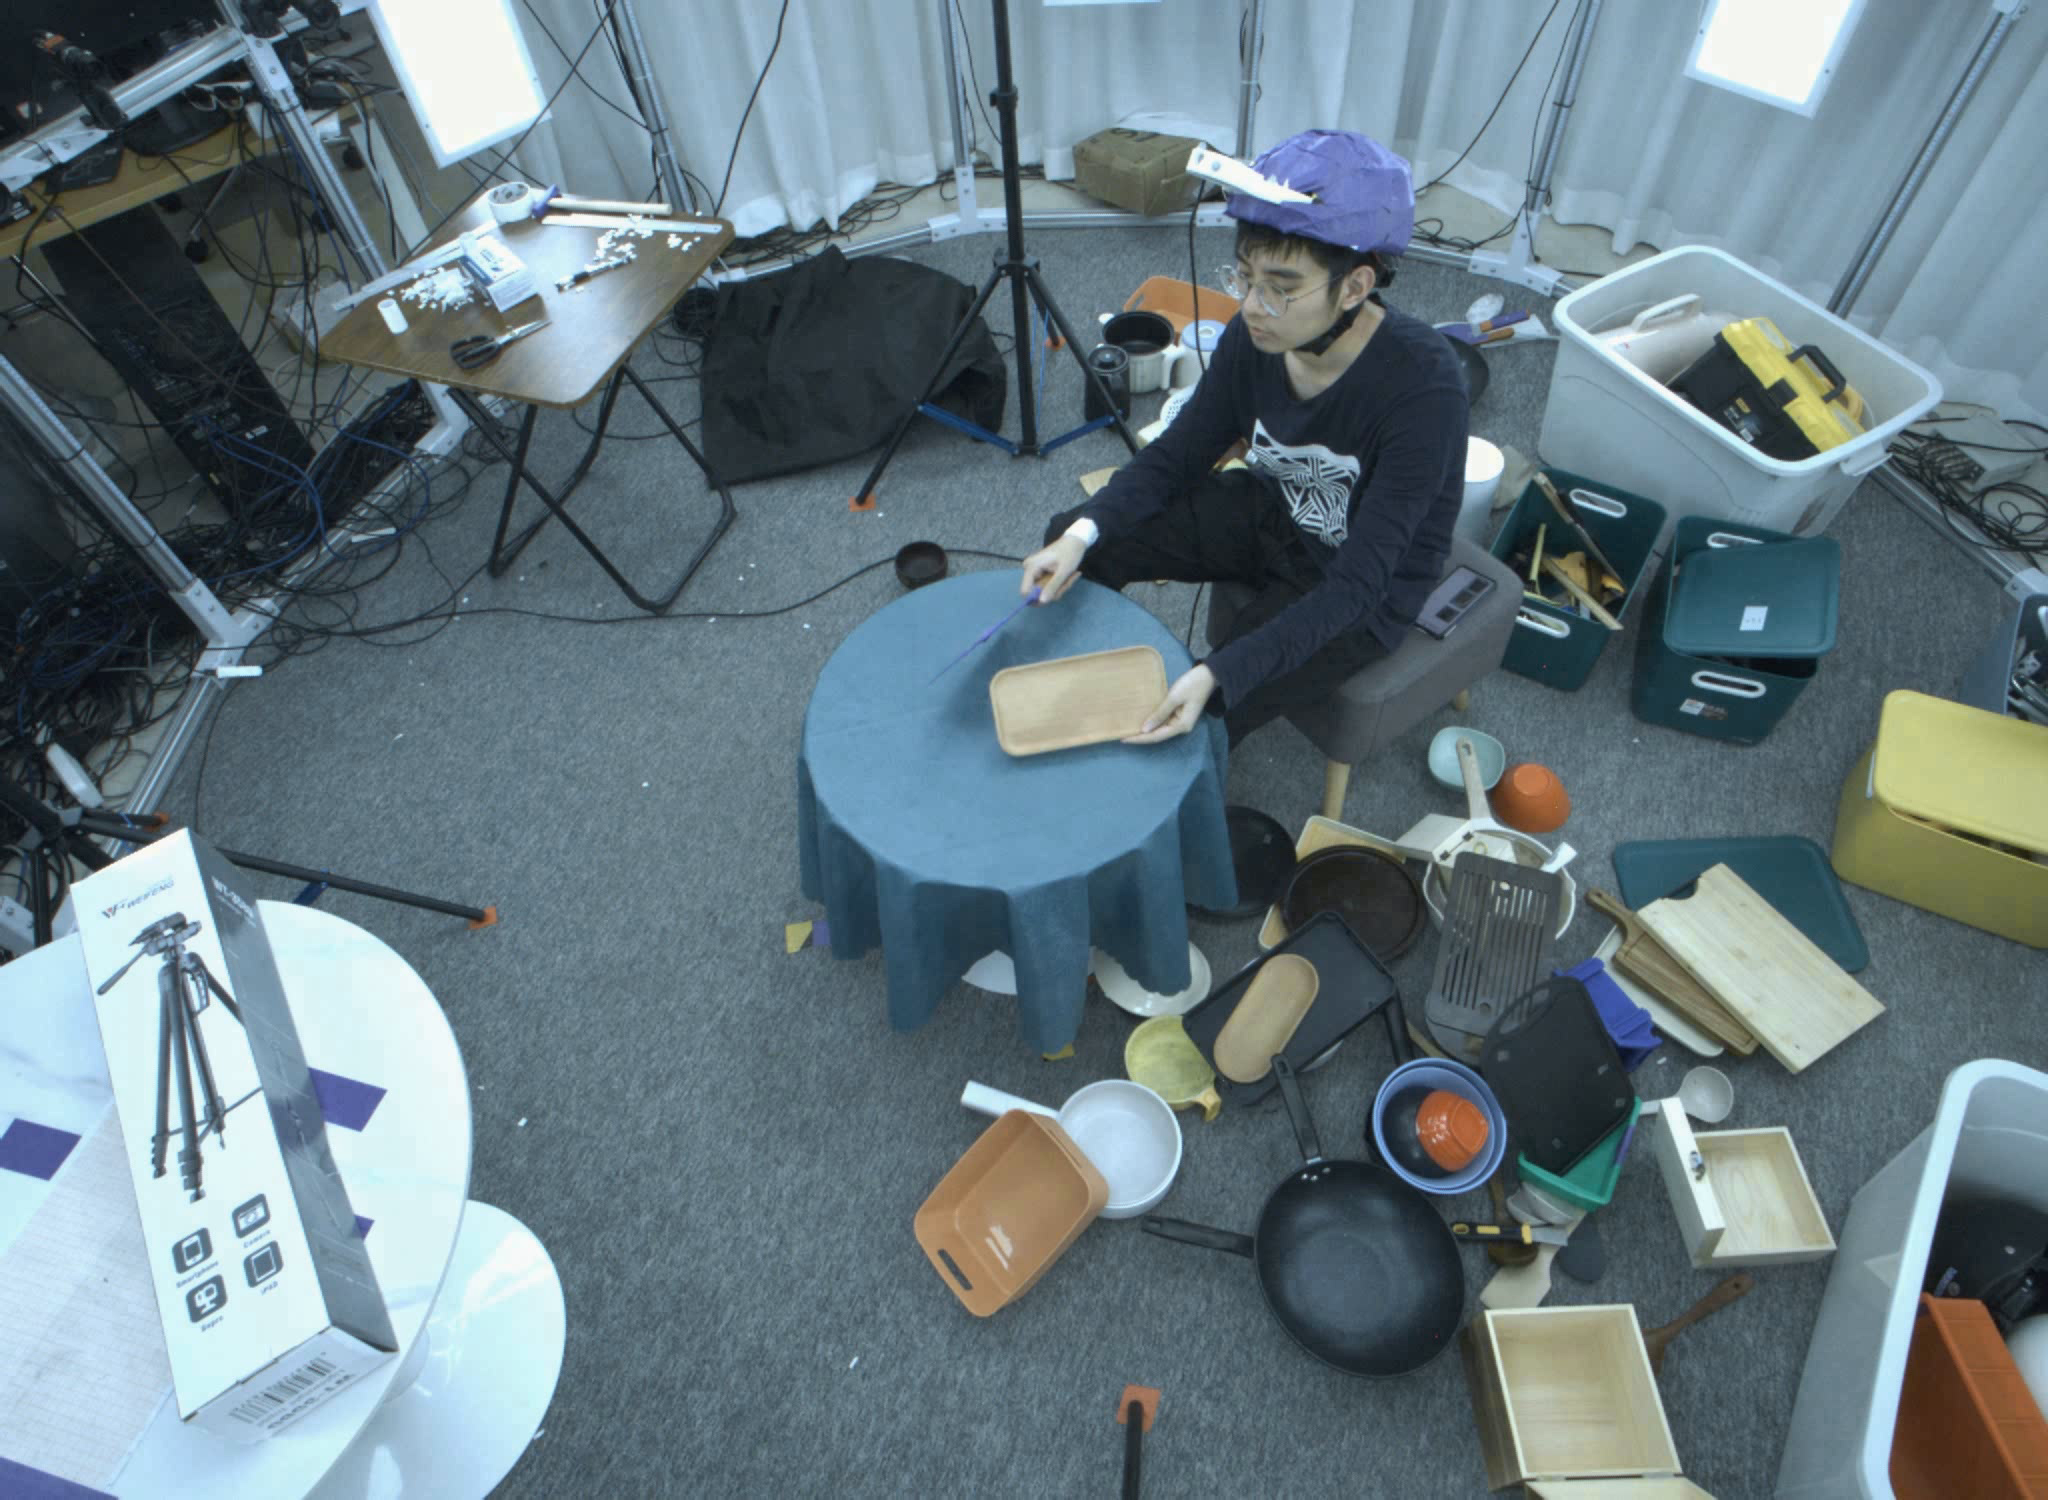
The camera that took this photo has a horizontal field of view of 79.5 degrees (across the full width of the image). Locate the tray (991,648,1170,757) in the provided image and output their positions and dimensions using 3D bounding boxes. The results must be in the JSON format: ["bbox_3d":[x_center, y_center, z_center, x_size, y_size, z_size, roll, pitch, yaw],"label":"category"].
[{"bbox_3d":[0.082,-0.069,1.767,0.251,0.131,0.022,-9,11,-5],"label":"tray"}]

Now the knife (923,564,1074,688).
[{"bbox_3d":[-0.041,-0.190,1.861,0.032,0.102,0.318,53,51,-5],"label":"knife"}]
